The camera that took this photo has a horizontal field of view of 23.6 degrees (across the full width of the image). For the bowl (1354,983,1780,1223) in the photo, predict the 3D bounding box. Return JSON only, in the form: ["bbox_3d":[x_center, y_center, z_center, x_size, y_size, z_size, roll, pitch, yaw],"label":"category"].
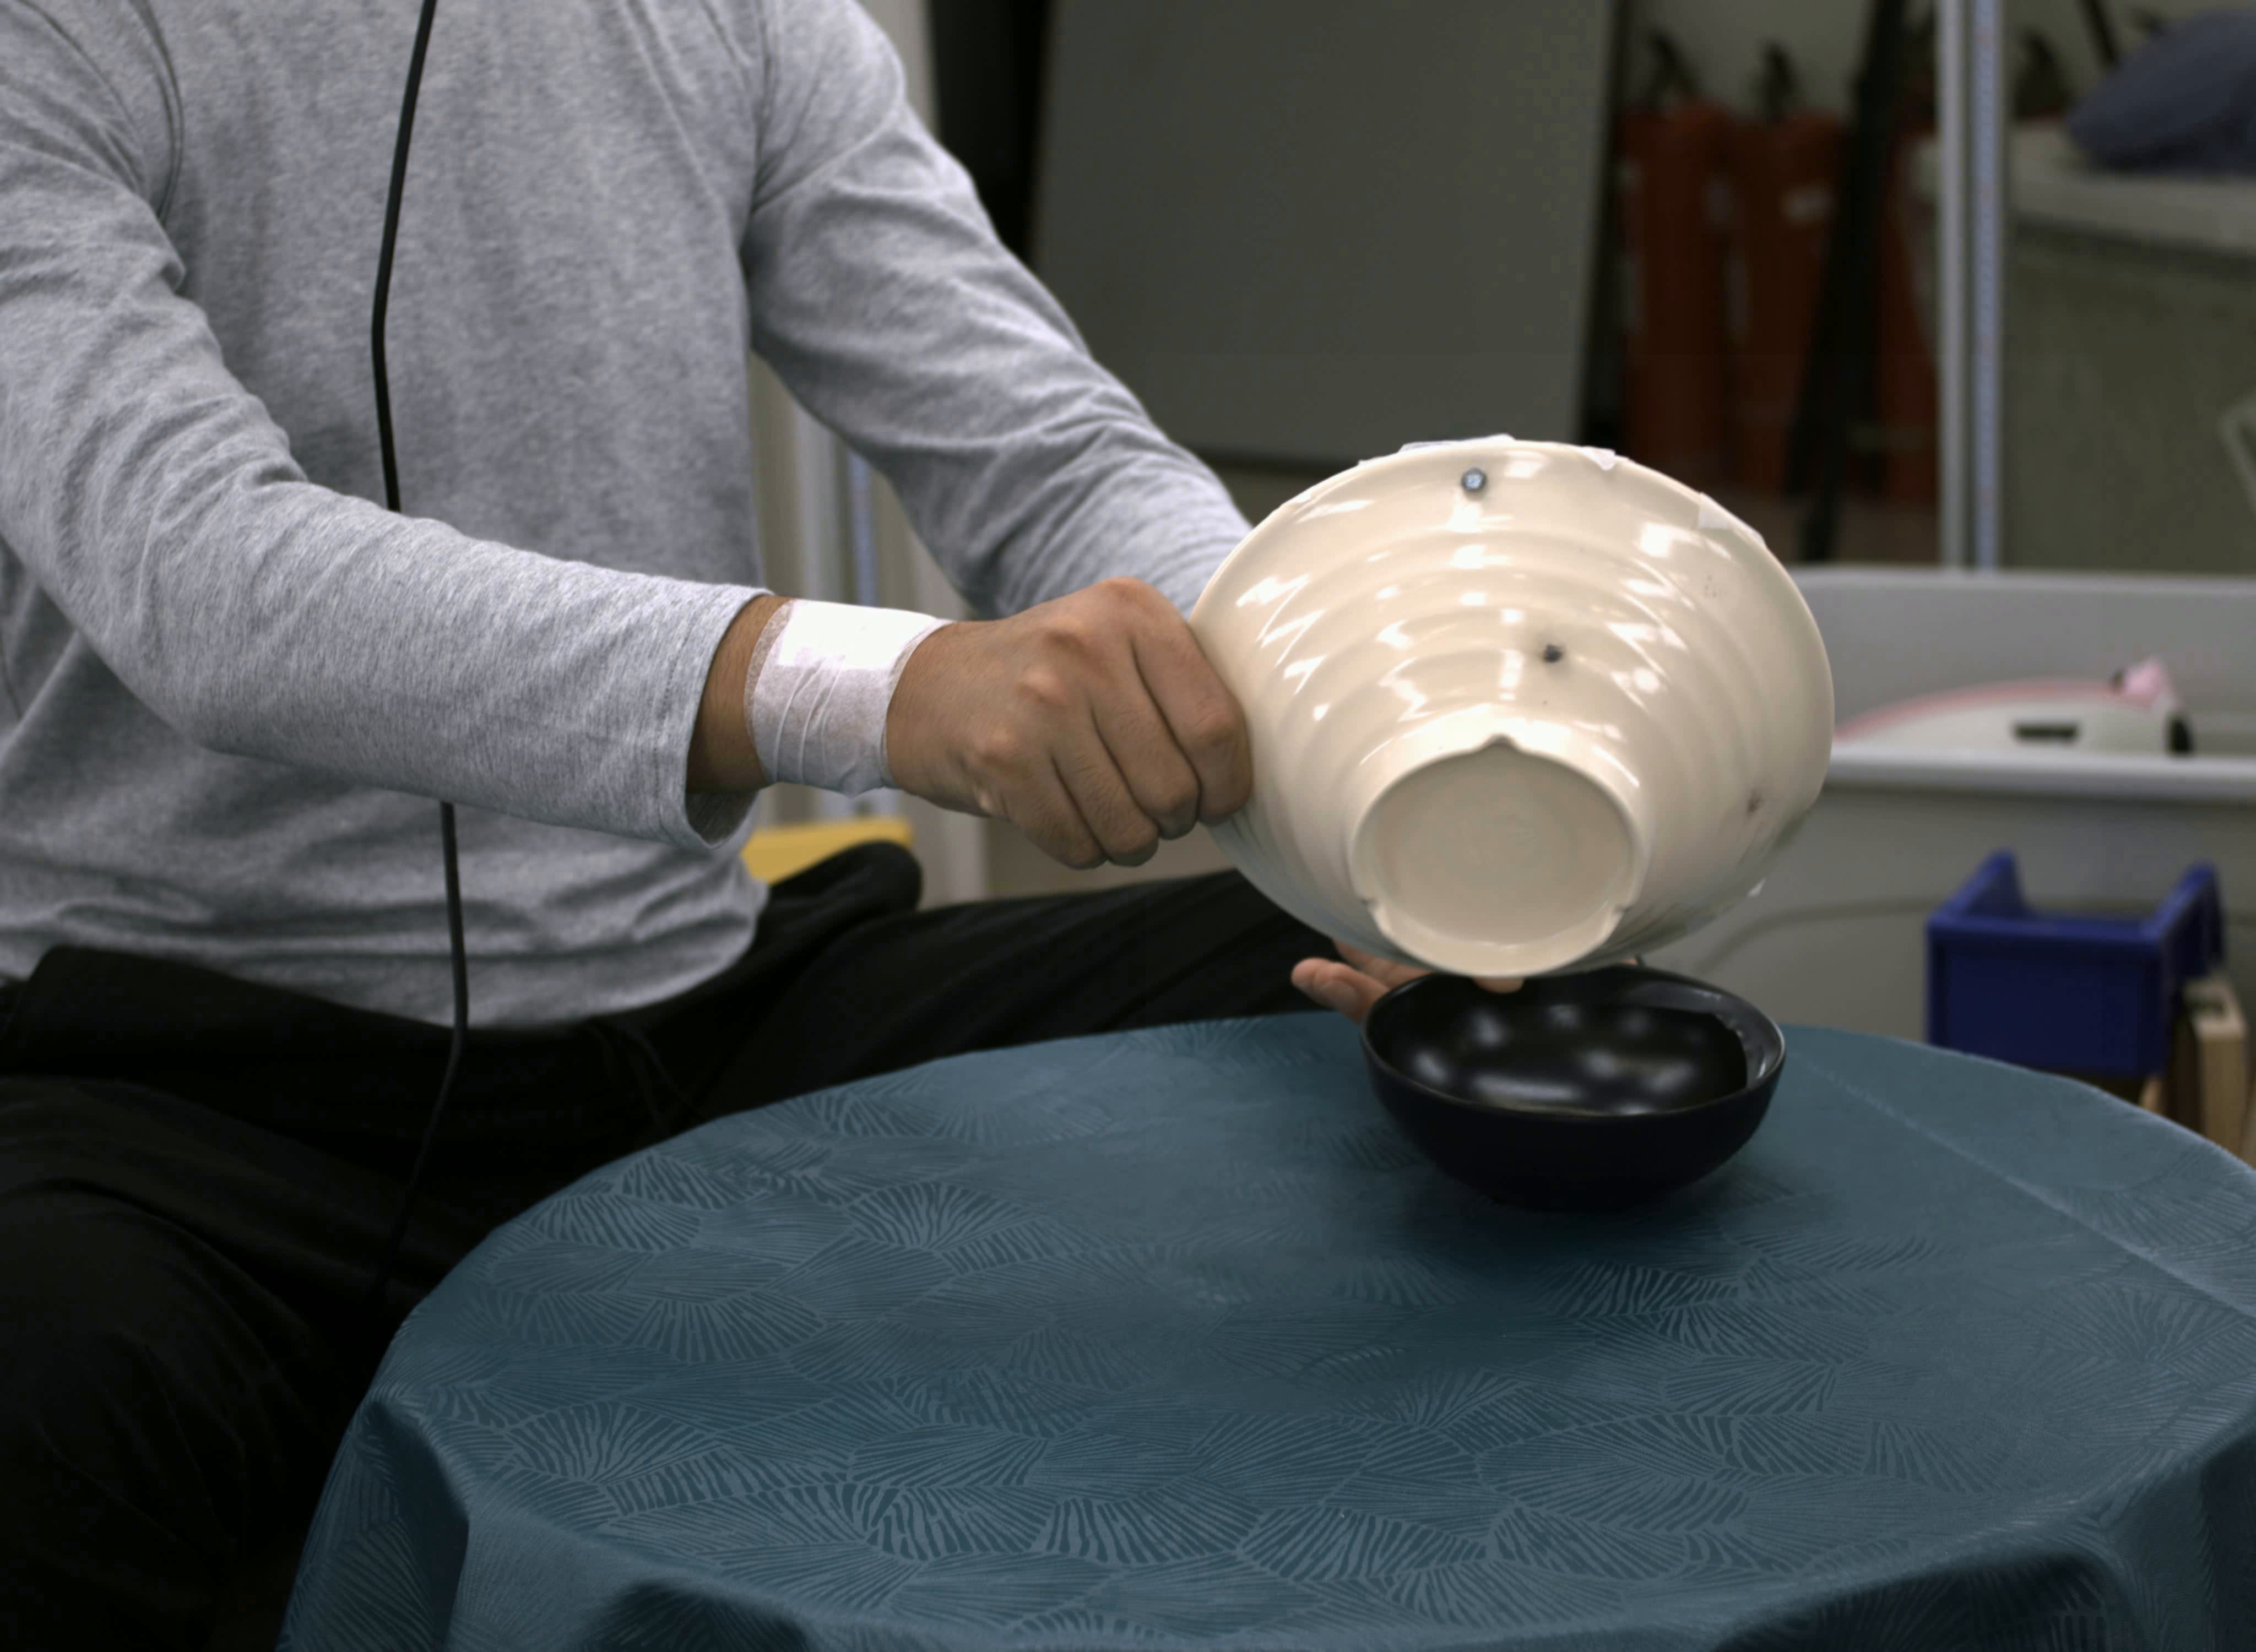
[{"bbox_3d":[0.142,0.094,1.743,0.138,0.050,0.140,-3,15,0],"label":"bowl"}]

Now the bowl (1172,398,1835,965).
[{"bbox_3d":[0.111,-0.020,1.606,0.202,0.205,0.078,-2,35,7],"label":"bowl"}]
